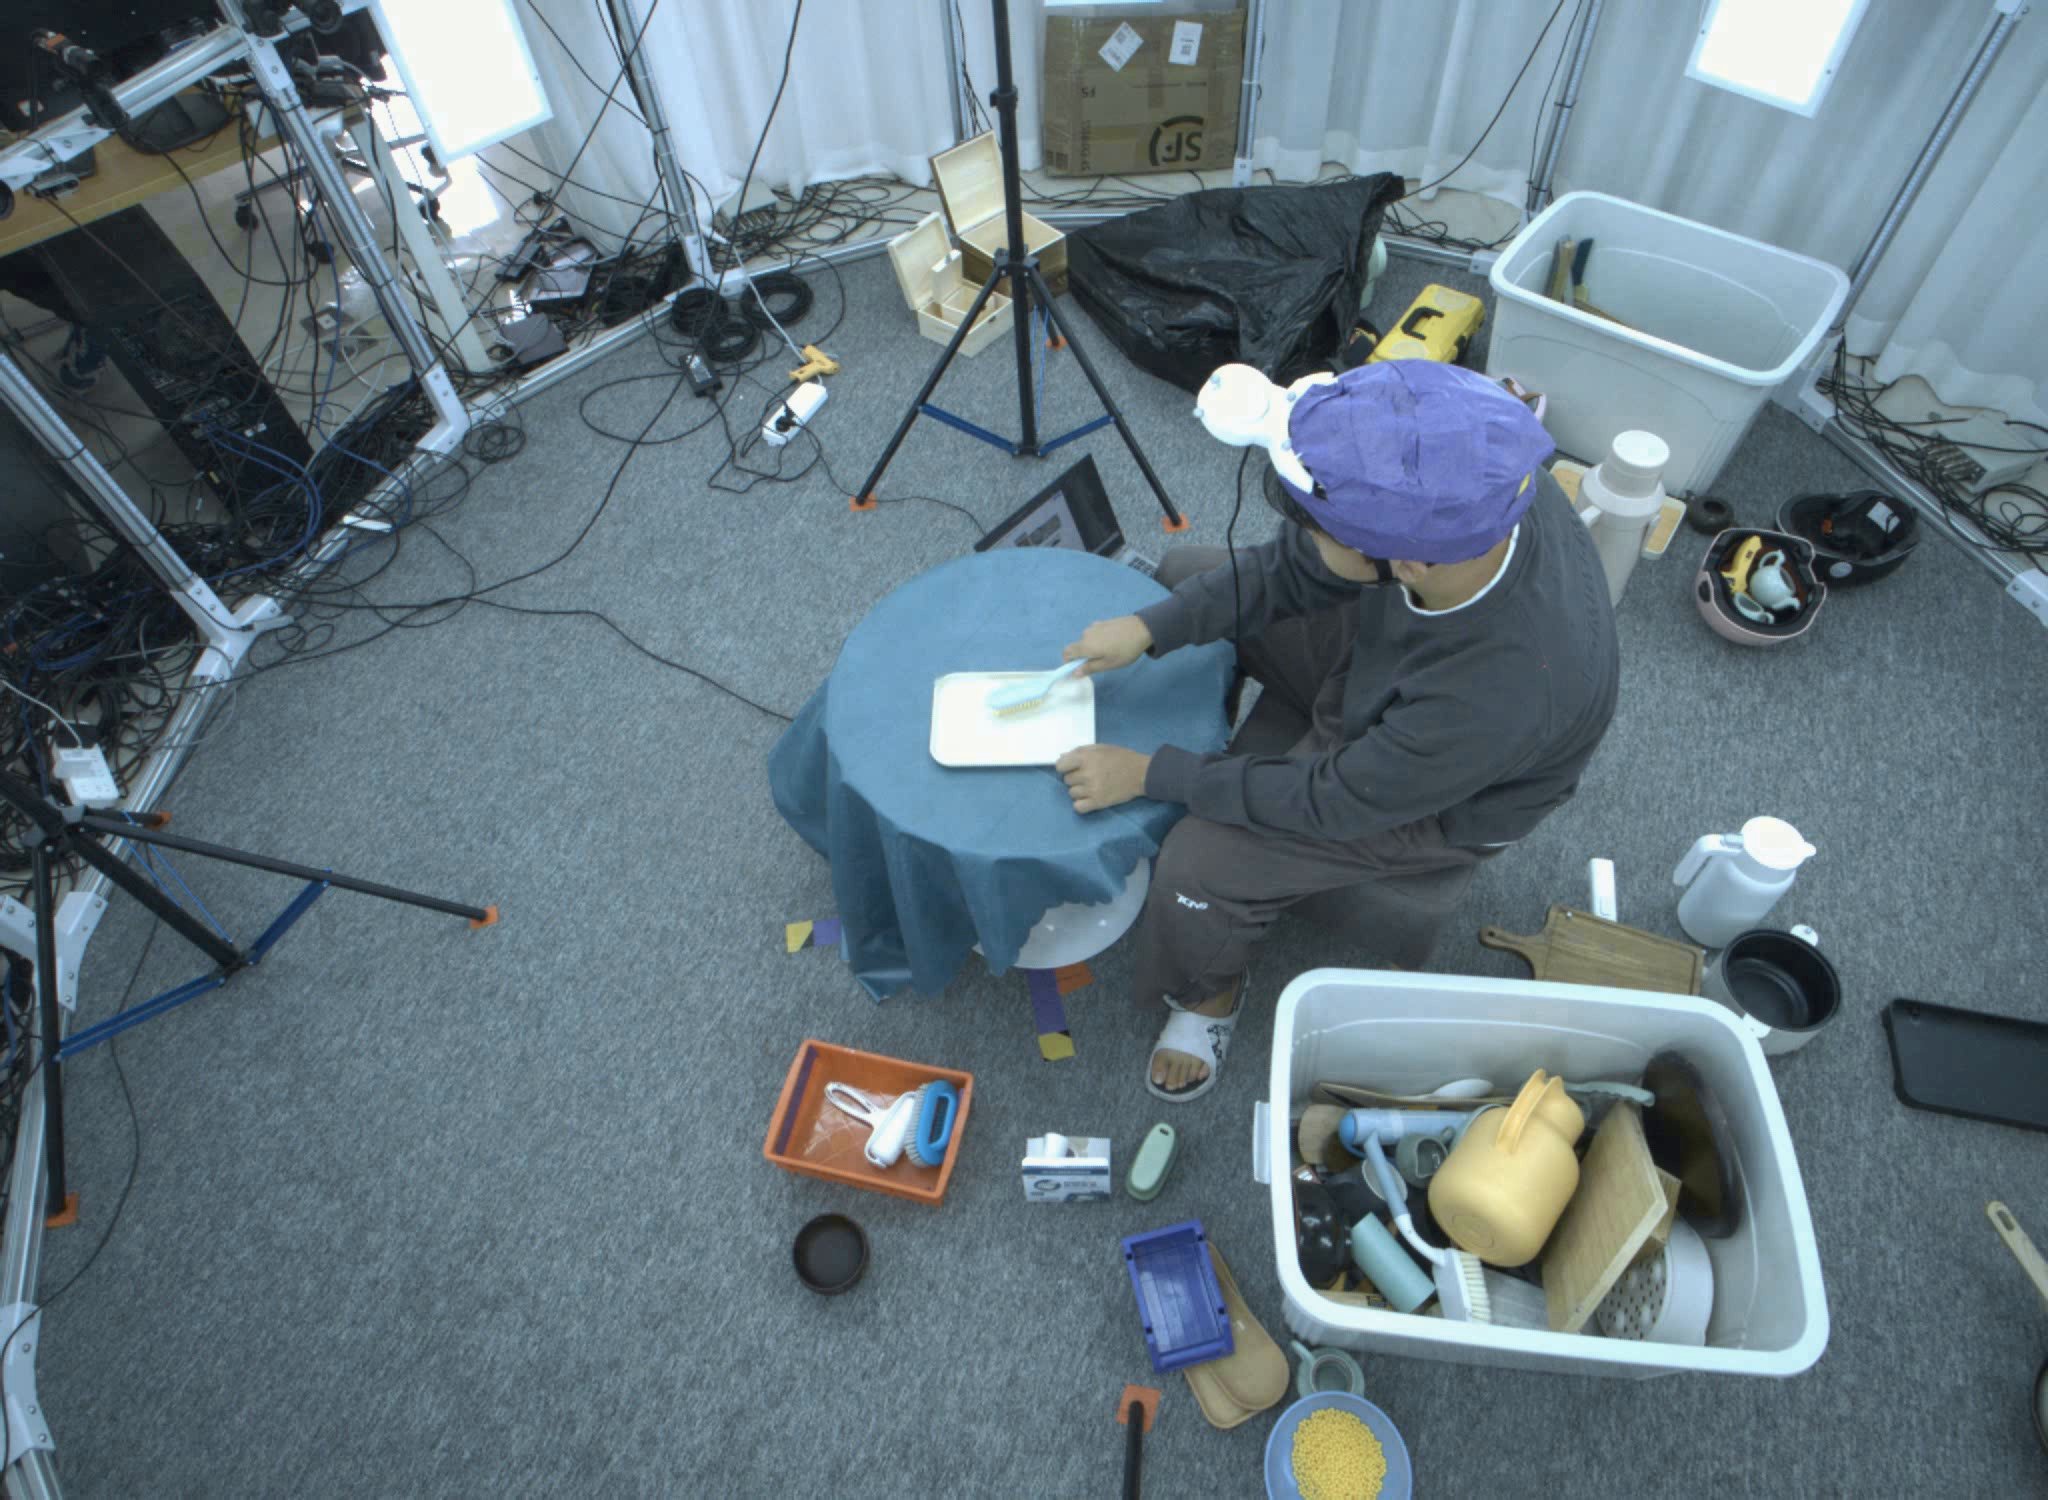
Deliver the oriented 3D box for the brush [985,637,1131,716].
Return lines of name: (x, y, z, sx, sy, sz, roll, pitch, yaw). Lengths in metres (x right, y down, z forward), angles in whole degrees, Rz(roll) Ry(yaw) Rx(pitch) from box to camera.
brush: (0.051, -0.110, 1.814, 0.228, 0.050, 0.037, -26, 58, 2)

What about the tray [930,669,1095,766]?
tray: (-0.017, -0.047, 1.810, 0.239, 0.017, 0.169, -1, 56, 1)
